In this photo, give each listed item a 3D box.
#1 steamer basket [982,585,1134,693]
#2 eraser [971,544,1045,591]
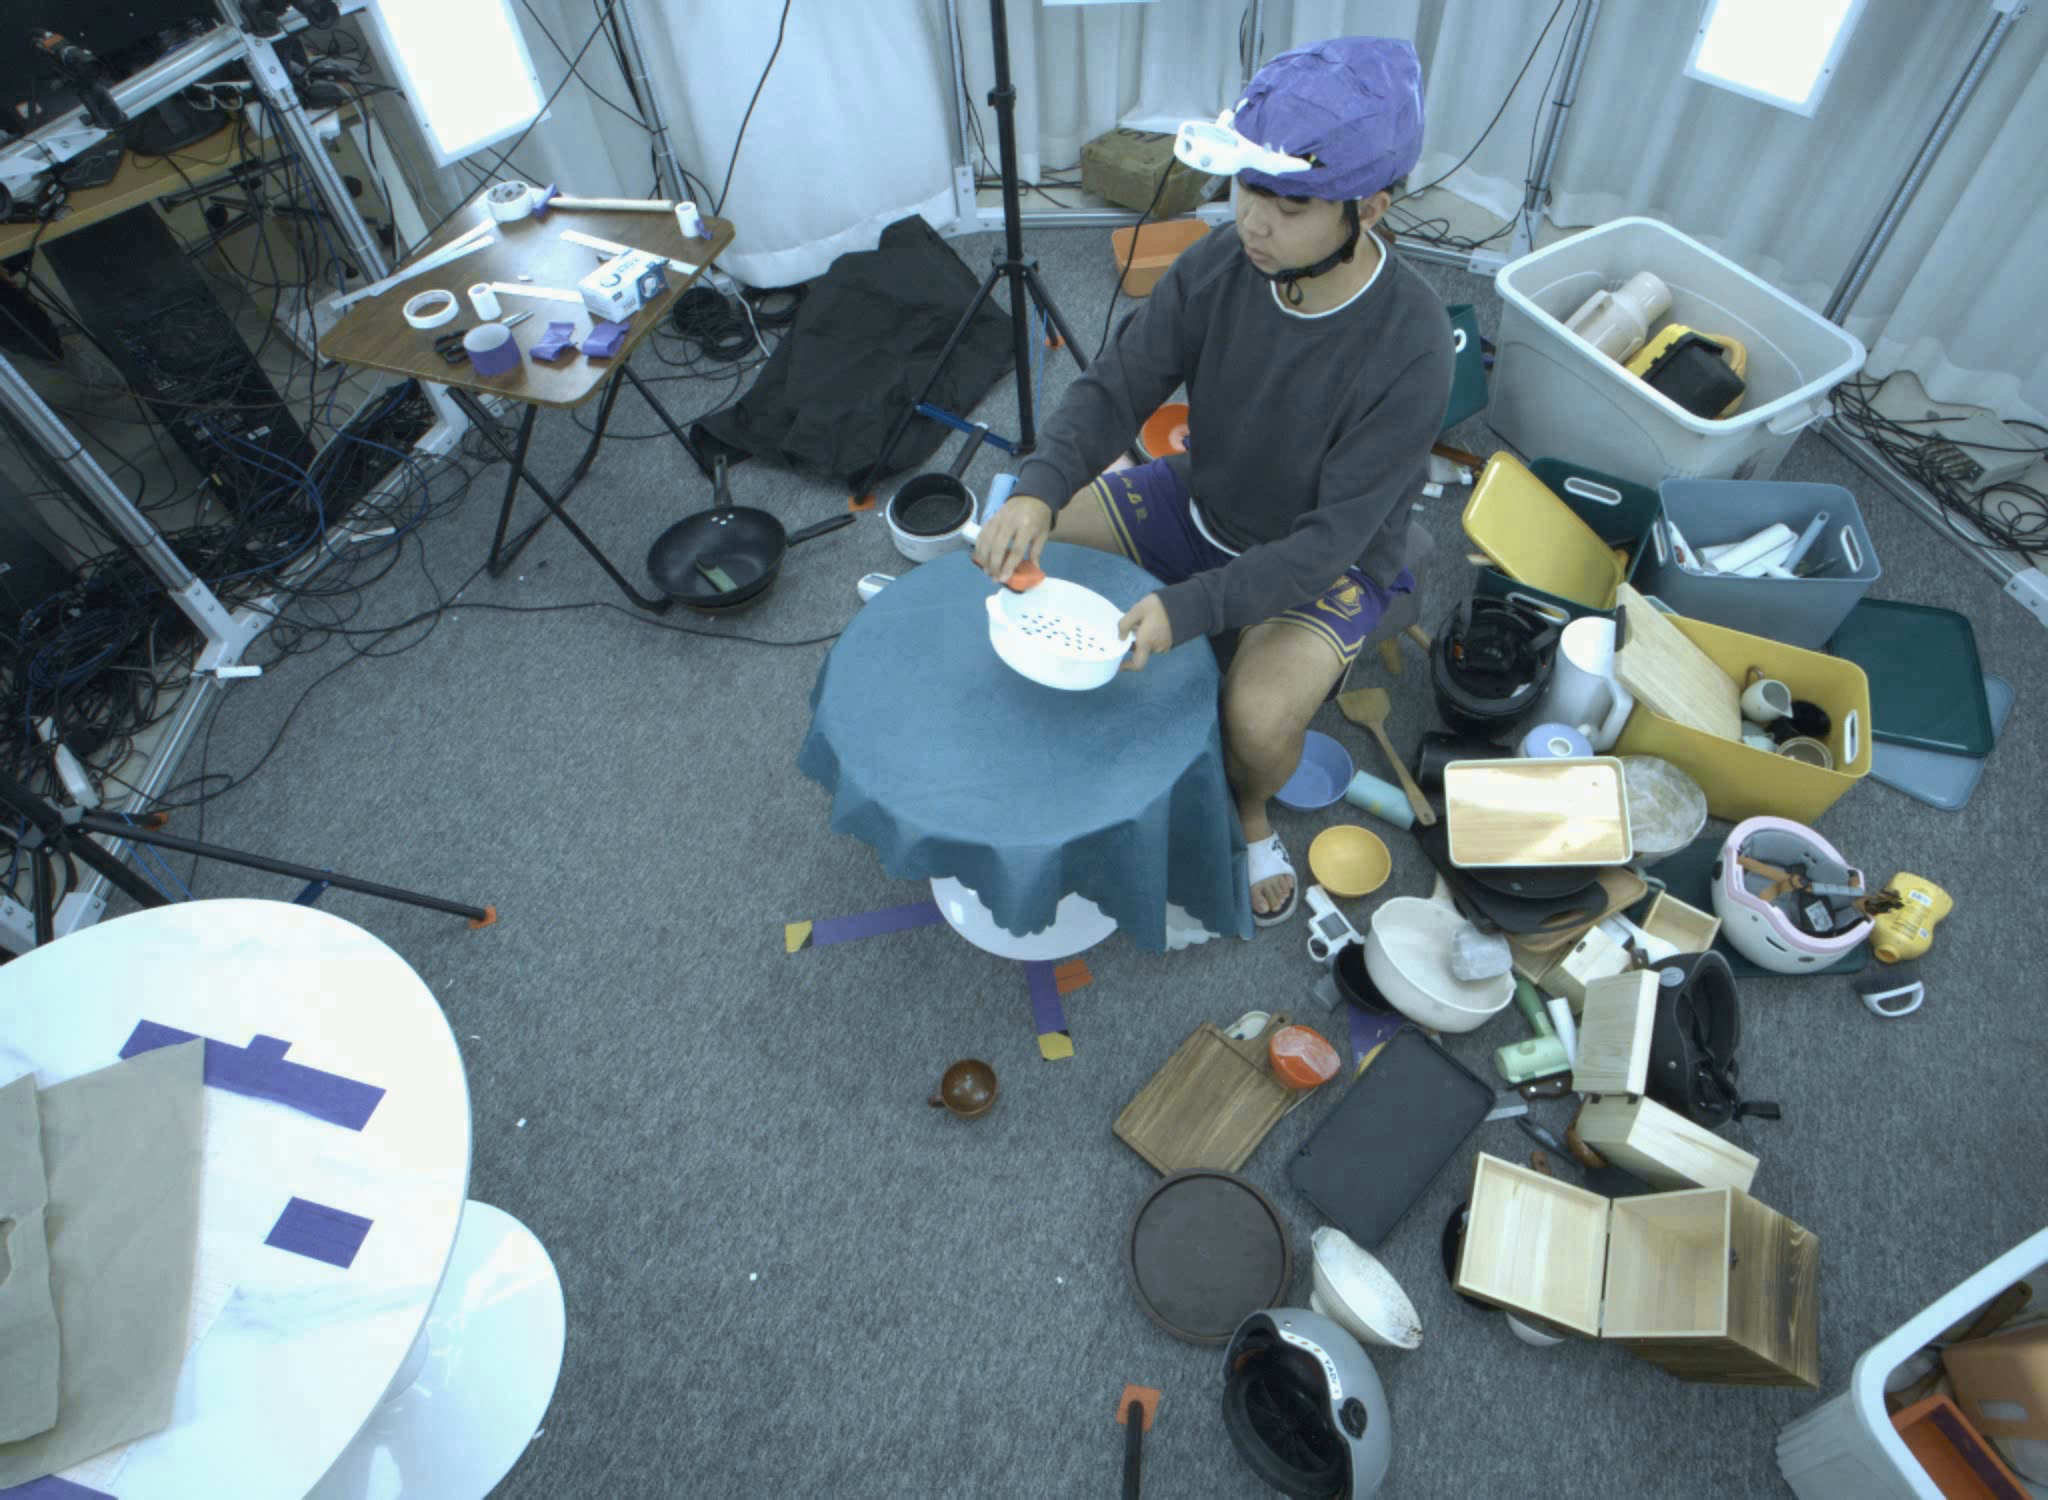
[{"bbox_3d":[0.041,-0.158,1.757,0.234,0.069,0.198,8,35,-24],"label":"steamer basket"},{"bbox_3d":[-0.024,-0.264,1.766,0.060,0.023,0.106,-13,42,-42],"label":"eraser"}]
